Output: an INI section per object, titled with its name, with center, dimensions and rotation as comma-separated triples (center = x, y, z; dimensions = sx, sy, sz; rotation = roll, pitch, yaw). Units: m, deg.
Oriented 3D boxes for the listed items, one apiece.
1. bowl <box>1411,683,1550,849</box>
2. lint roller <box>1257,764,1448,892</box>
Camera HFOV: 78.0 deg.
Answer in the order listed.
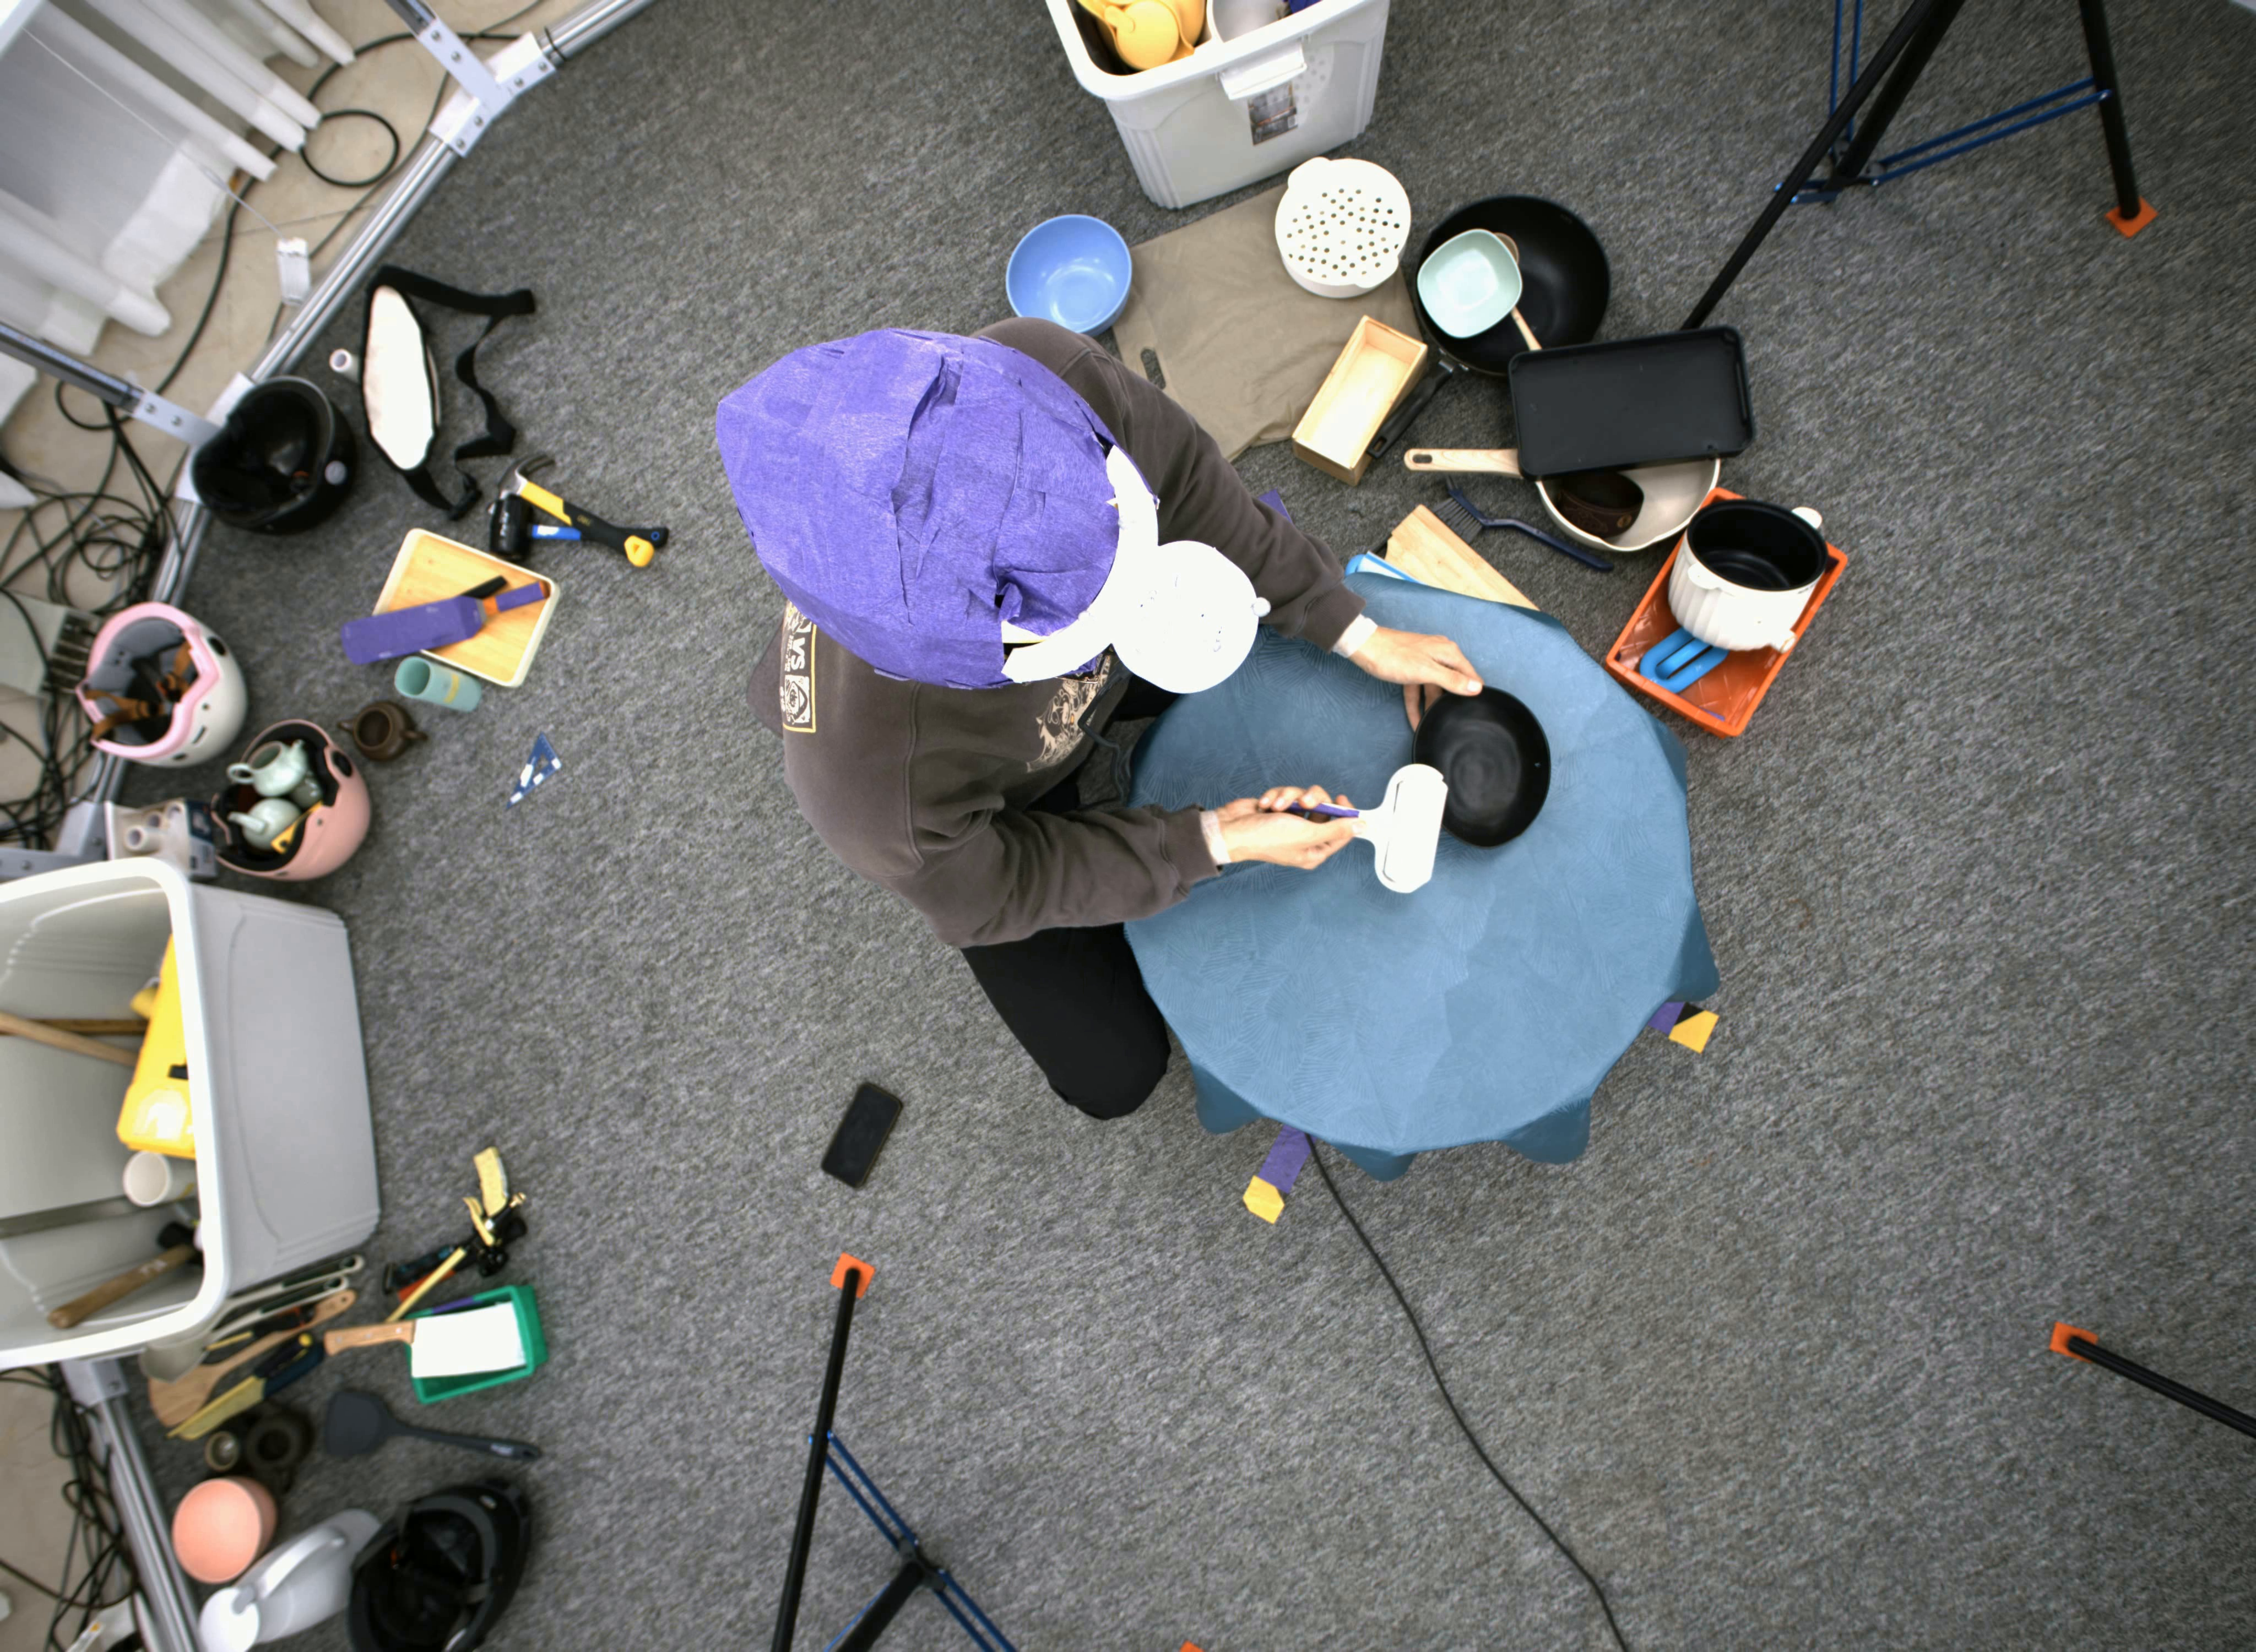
[bowl]
center = 0.362, -0.063, 1.415
dimensions = 0.138, 0.066, 0.169
rotation = -11, 87, 11
[lint roller]
center = 0.219, -0.002, 1.354
dimensions = 0.181, 0.049, 0.136
rotation = 3, 119, -5
